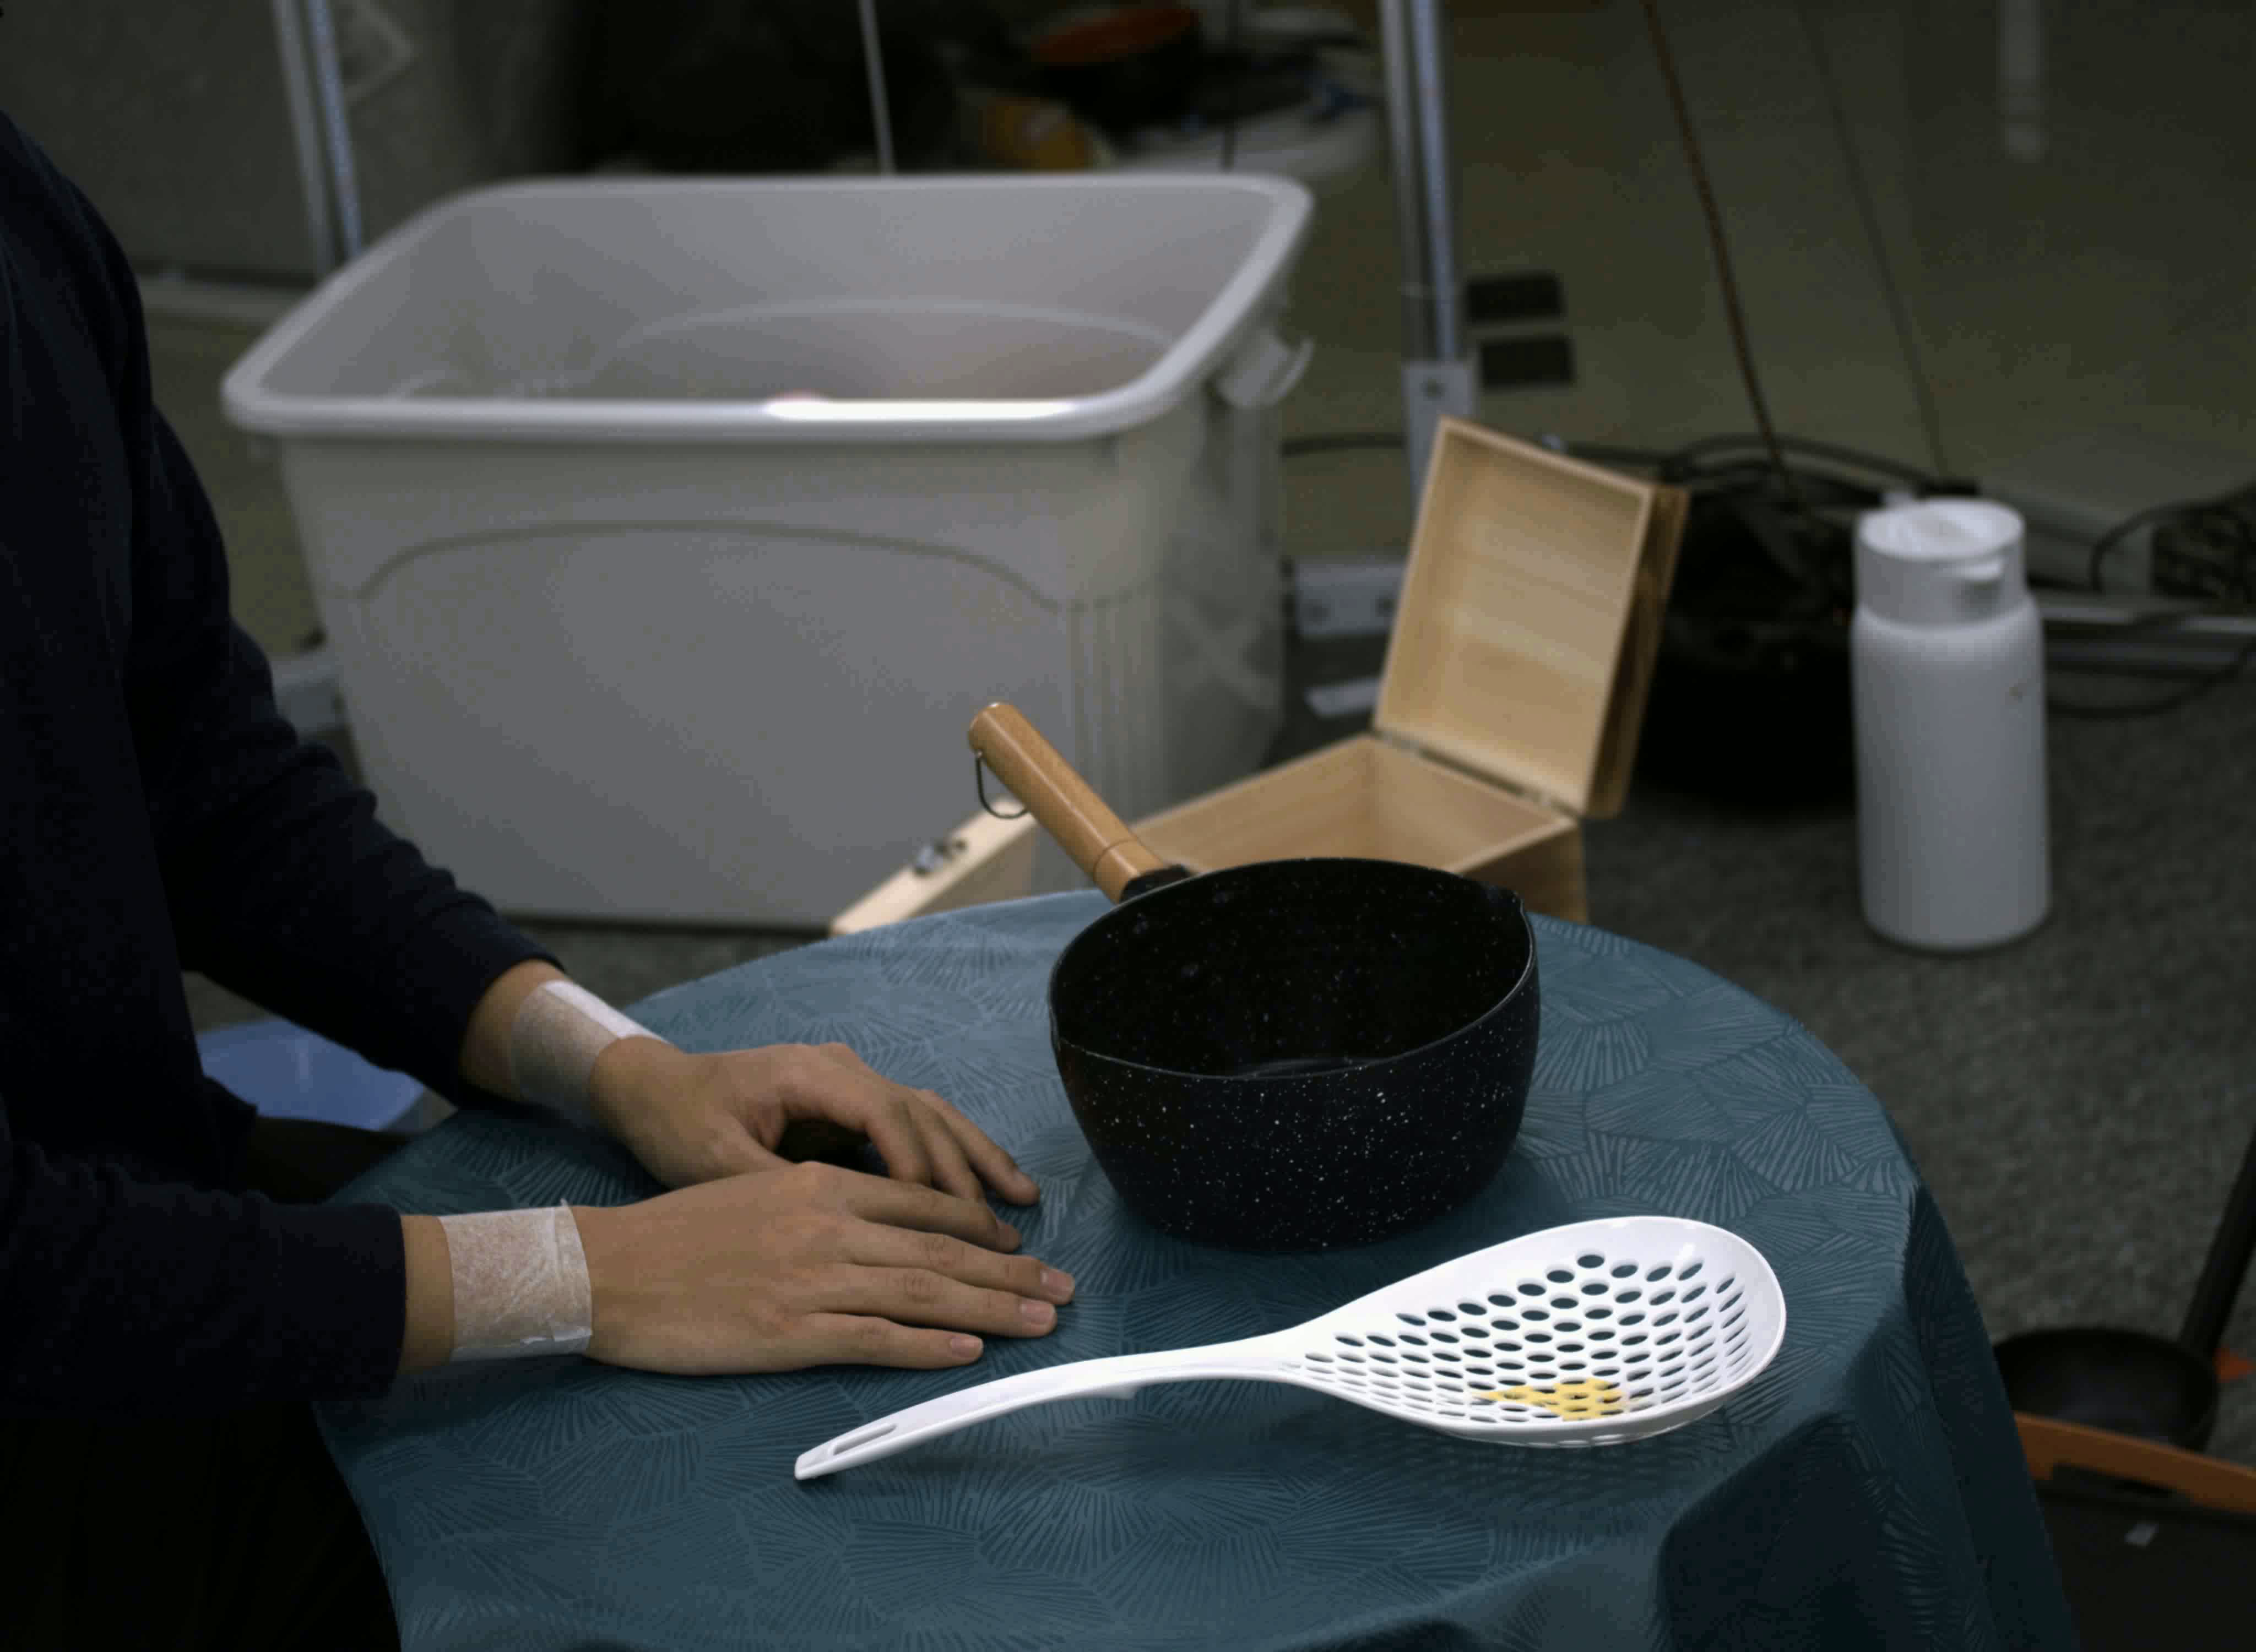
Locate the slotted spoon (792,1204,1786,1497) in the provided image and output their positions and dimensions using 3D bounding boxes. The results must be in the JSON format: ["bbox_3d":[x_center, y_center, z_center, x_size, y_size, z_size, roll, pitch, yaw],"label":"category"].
[{"bbox_3d":[0.054,0.193,1.966,0.347,0.051,0.134,-4,27,2],"label":"slotted spoon"}]

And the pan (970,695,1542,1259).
[{"bbox_3d":[0.026,0.053,2.195,0.206,0.110,0.339,-20,29,-23],"label":"pan"}]
